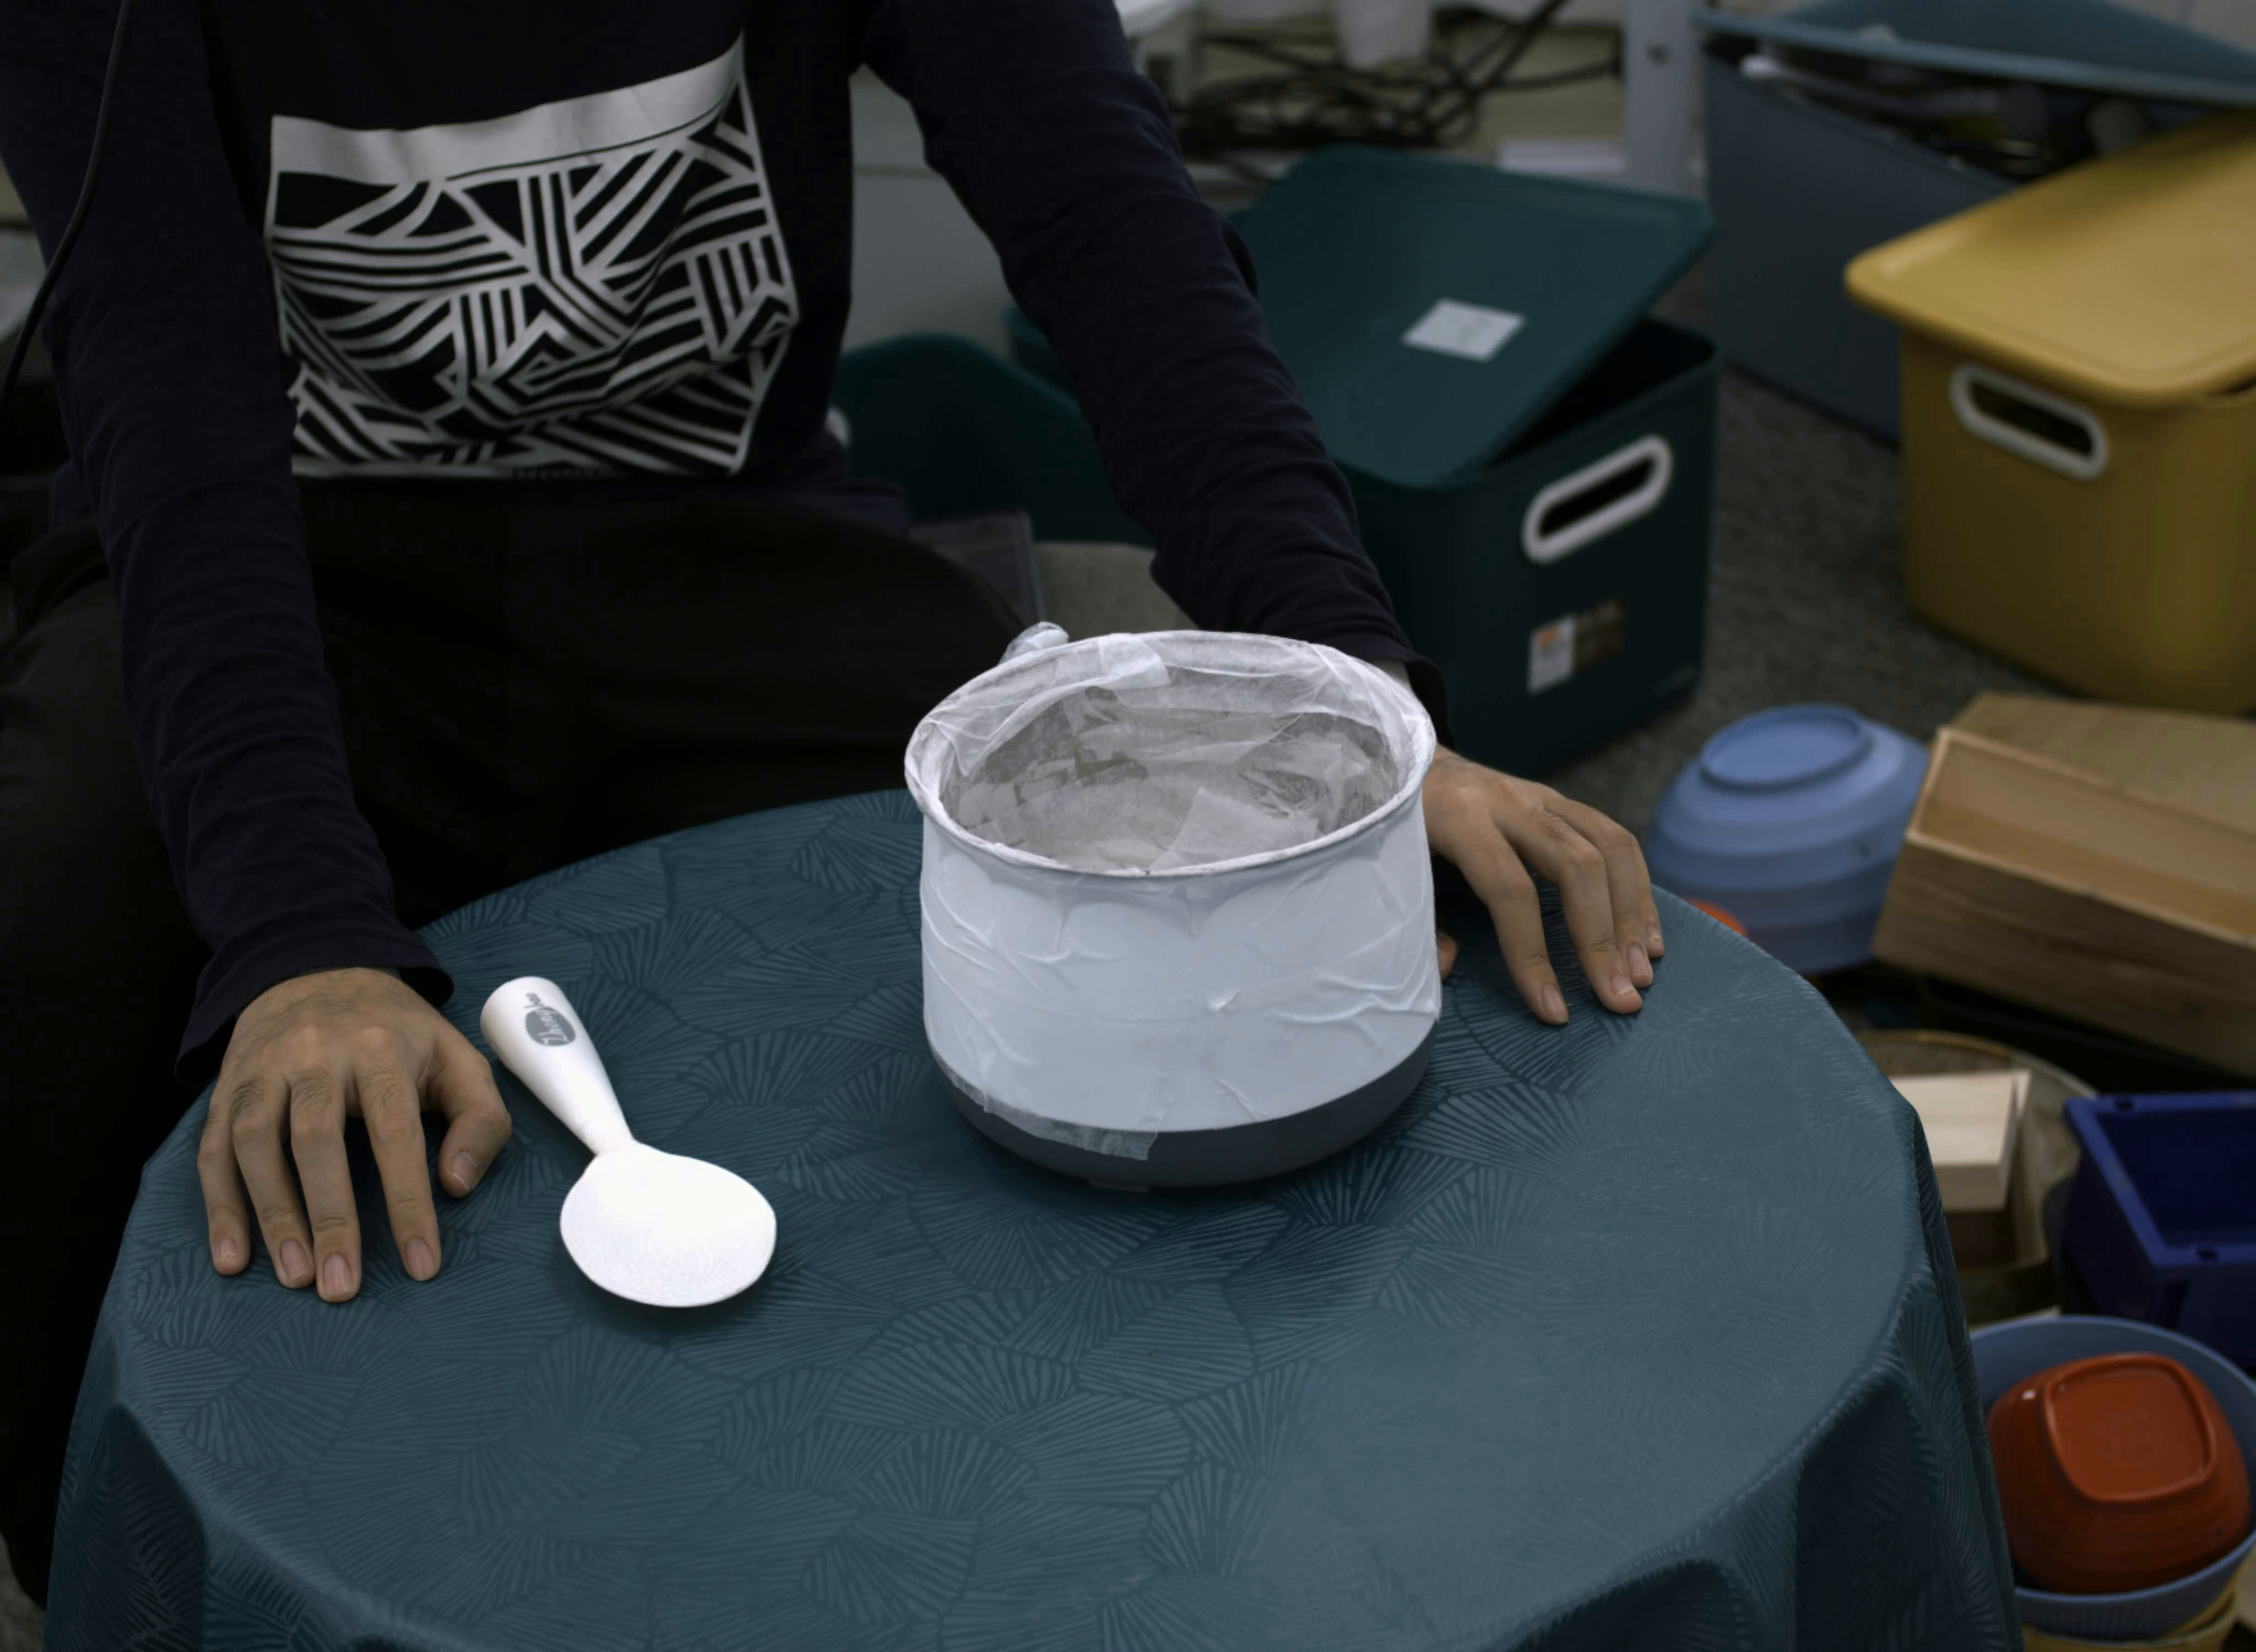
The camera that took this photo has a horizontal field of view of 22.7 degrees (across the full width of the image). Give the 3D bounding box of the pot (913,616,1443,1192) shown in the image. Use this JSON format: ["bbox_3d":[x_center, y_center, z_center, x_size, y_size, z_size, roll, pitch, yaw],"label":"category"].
[{"bbox_3d":[0.004,0.019,1.913,0.179,0.135,0.235,-13,29,-24],"label":"pot"}]

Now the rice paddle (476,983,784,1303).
[{"bbox_3d":[-0.171,0.108,1.874,0.069,0.029,0.206,-15,29,-19],"label":"rice paddle"}]
